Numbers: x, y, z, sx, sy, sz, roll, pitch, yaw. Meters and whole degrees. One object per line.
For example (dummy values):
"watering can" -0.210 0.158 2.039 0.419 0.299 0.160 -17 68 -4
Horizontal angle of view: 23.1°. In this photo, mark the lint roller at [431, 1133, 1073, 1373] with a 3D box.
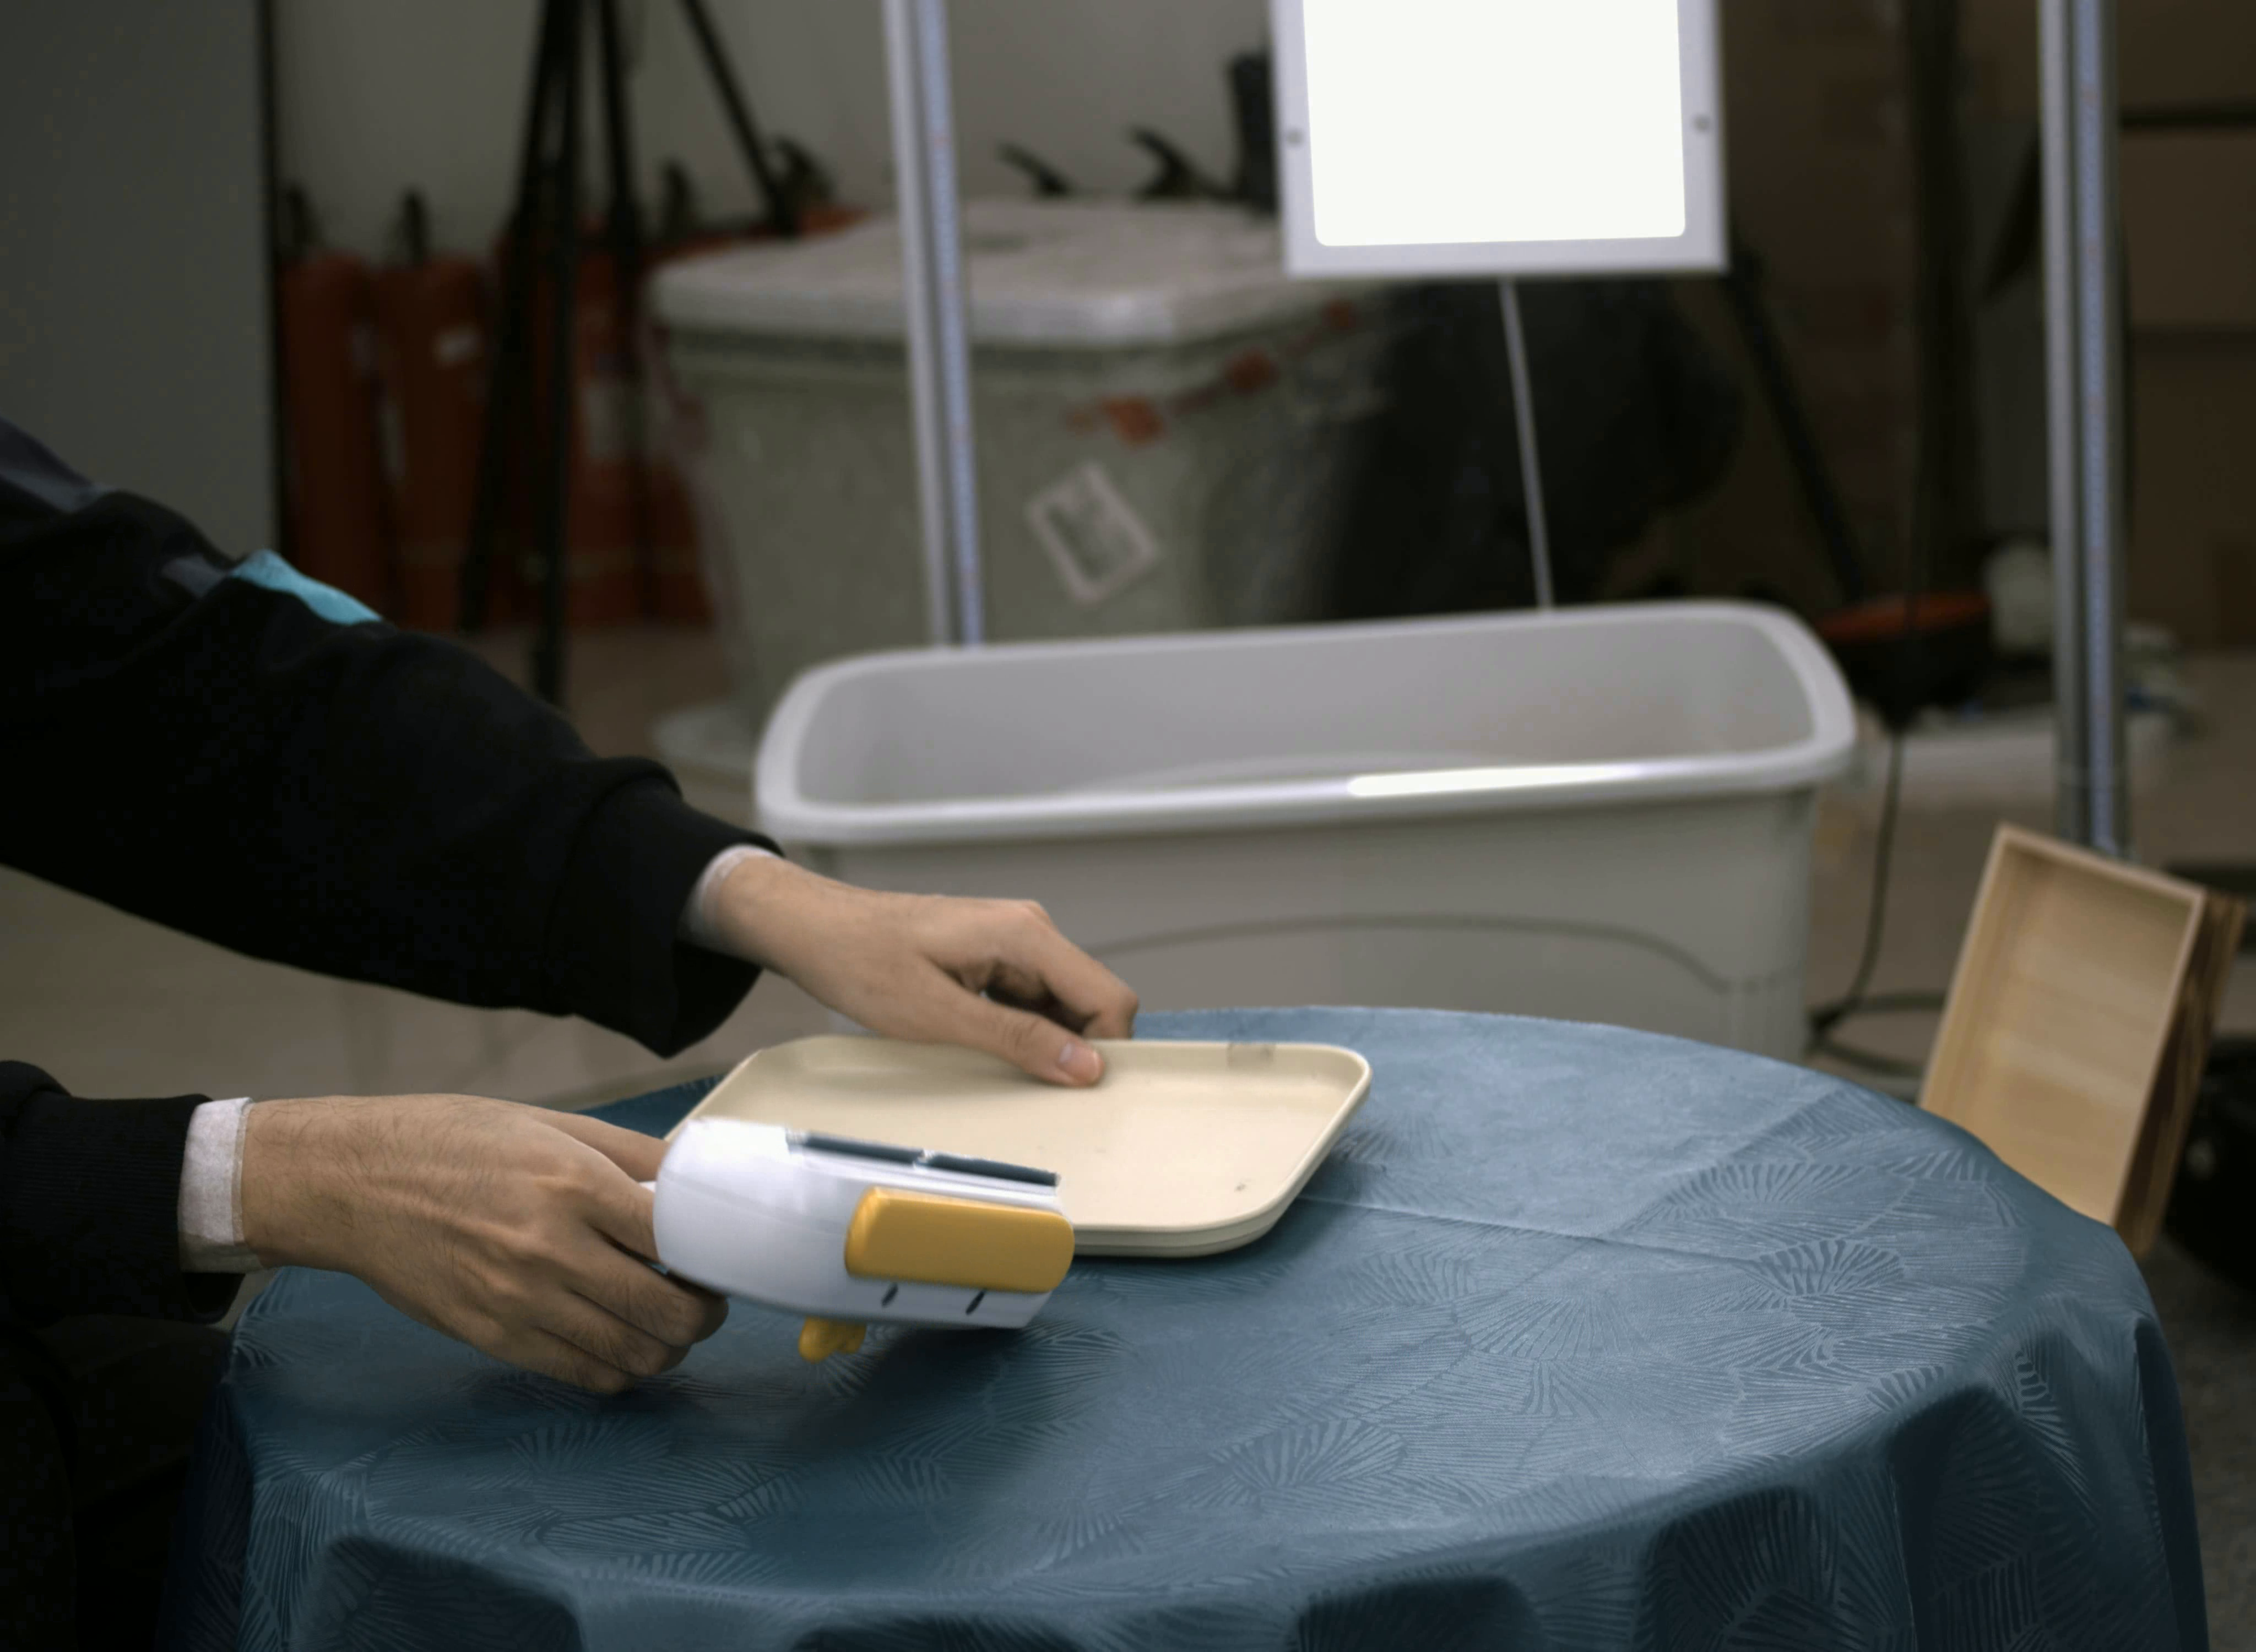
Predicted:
"lint roller" -0.134 0.126 1.729 0.196 0.074 0.188 7 2 31

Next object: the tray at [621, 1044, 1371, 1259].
"tray" -0.044 0.113 1.914 0.243 0.017 0.168 0 18 21
